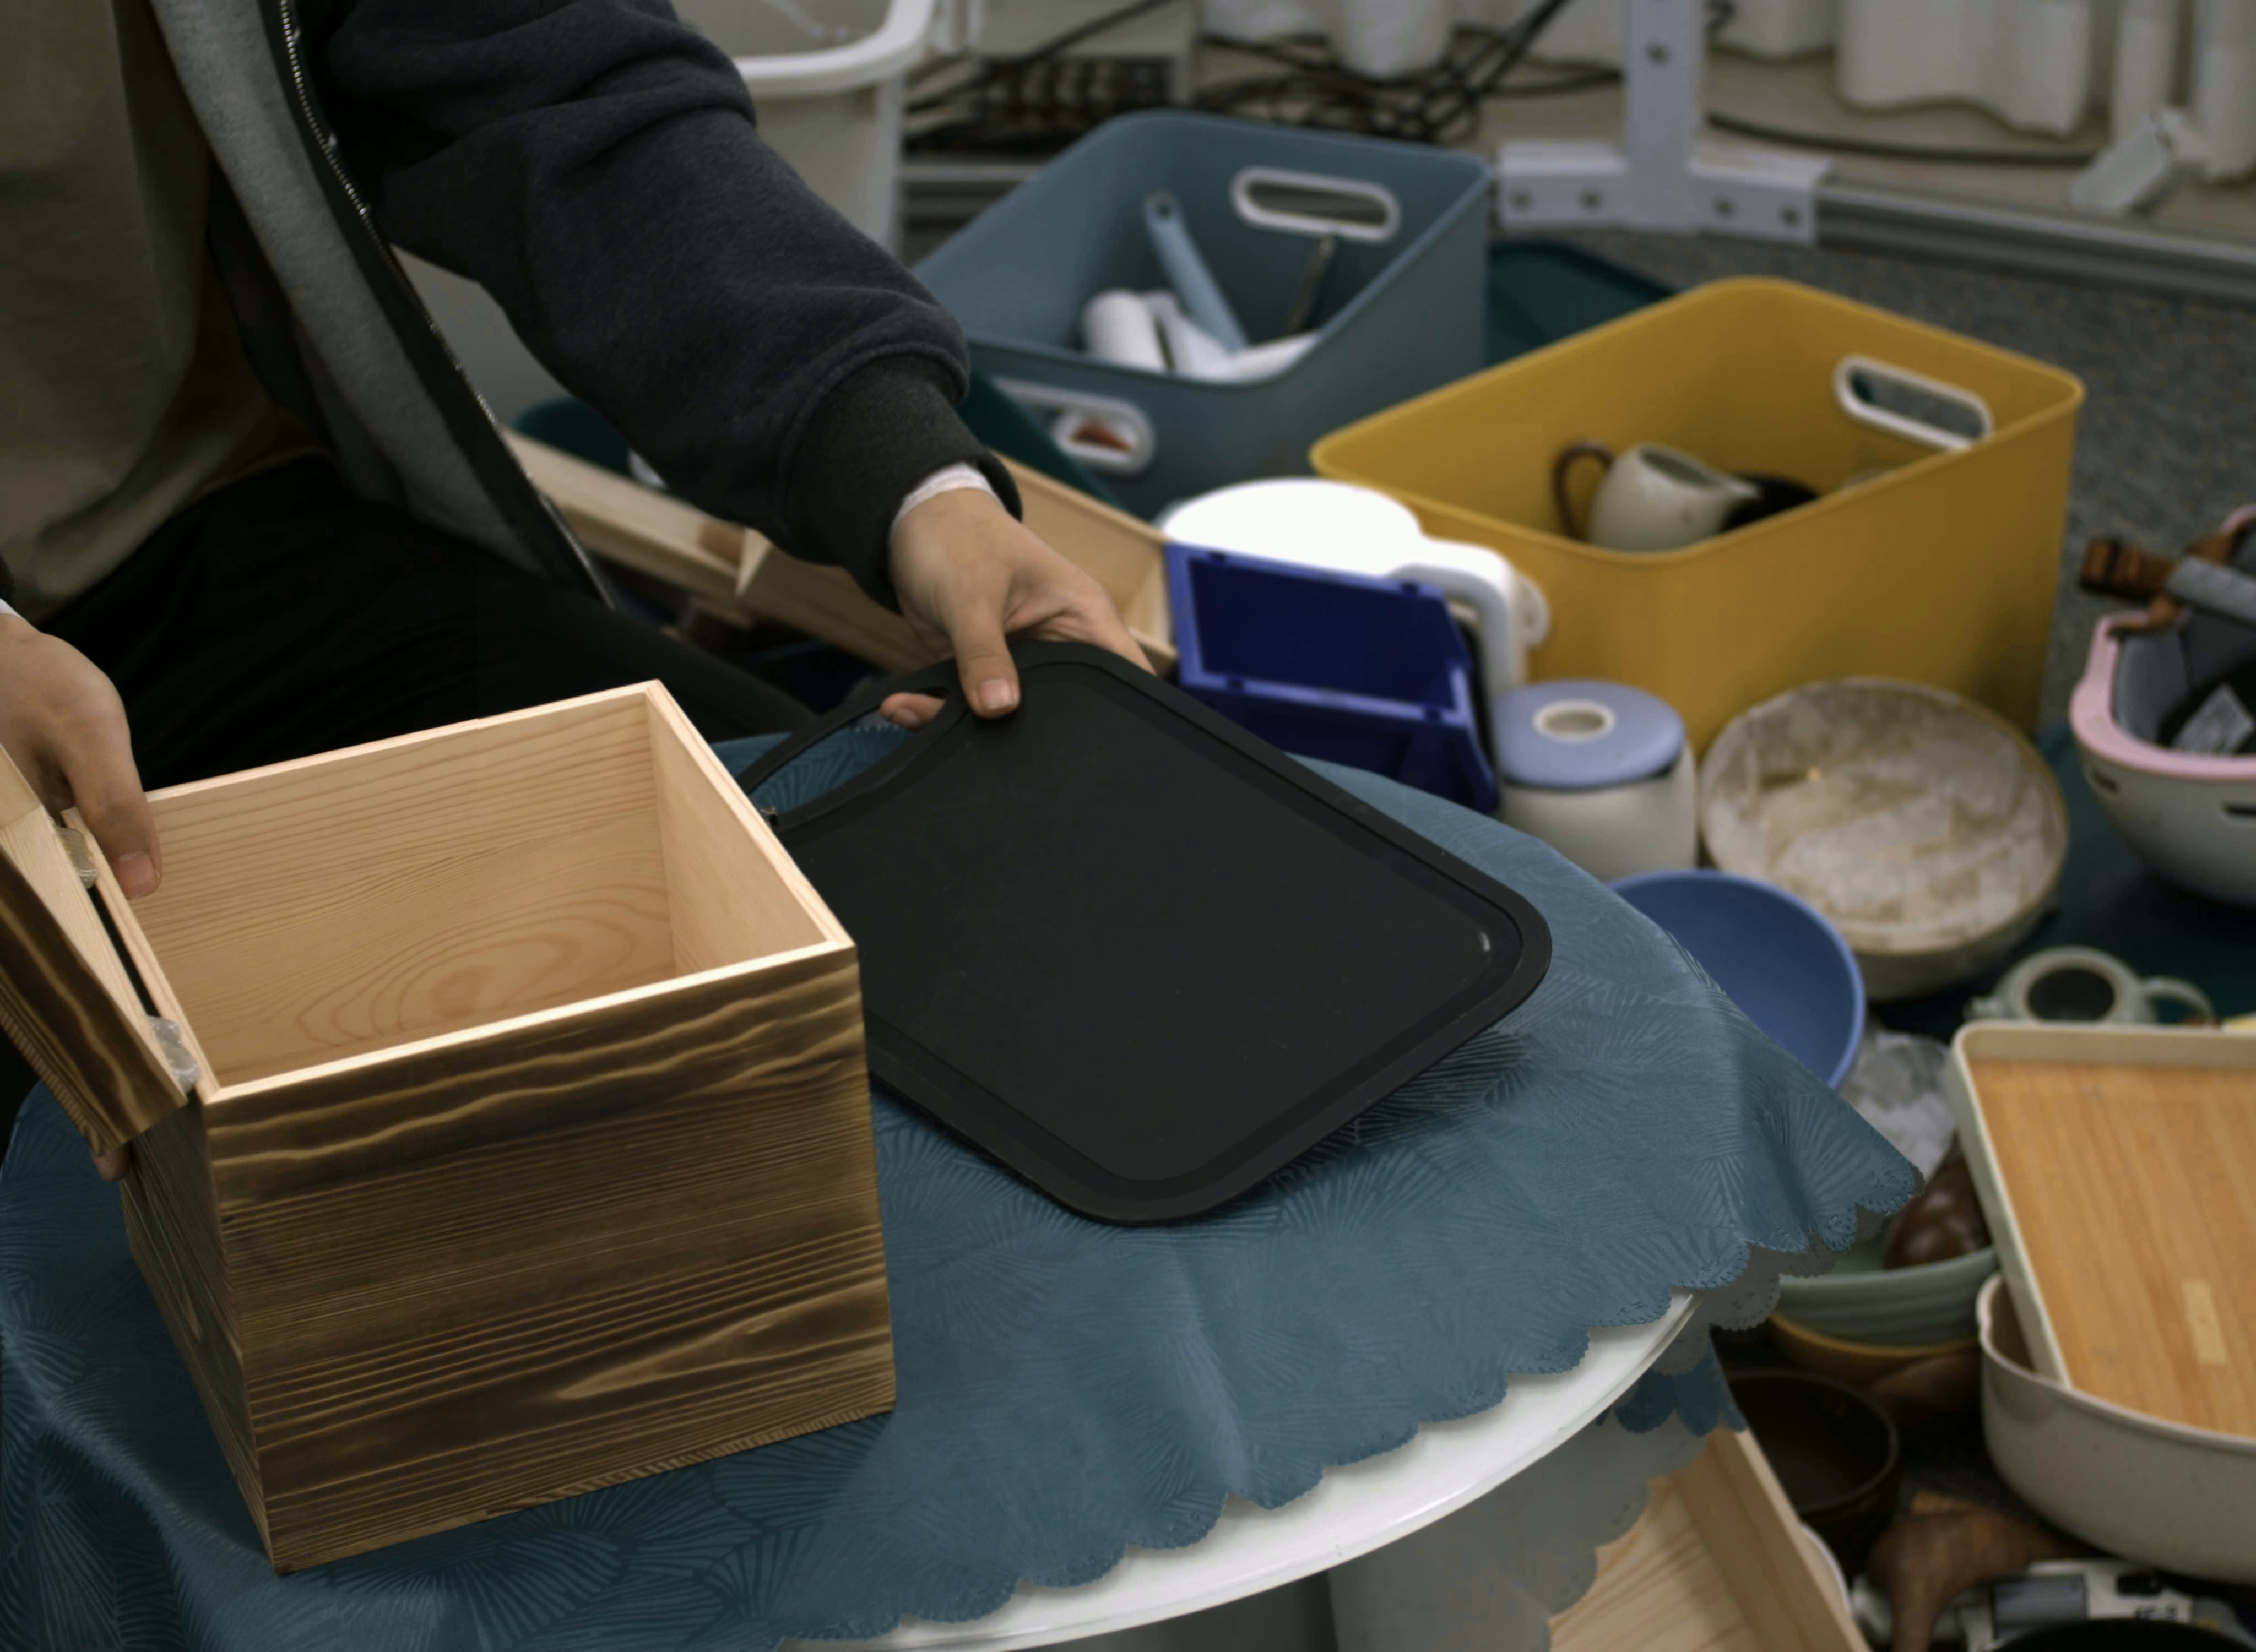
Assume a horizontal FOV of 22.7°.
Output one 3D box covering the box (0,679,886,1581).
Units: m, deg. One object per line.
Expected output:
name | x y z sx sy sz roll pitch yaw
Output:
box | -0.257 0.017 1.705 0.323 0.371 0.210 -14 29 -19

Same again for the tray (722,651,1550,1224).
tray | -0.020 0.029 1.979 0.213 0.009 0.326 -32 42 -27
